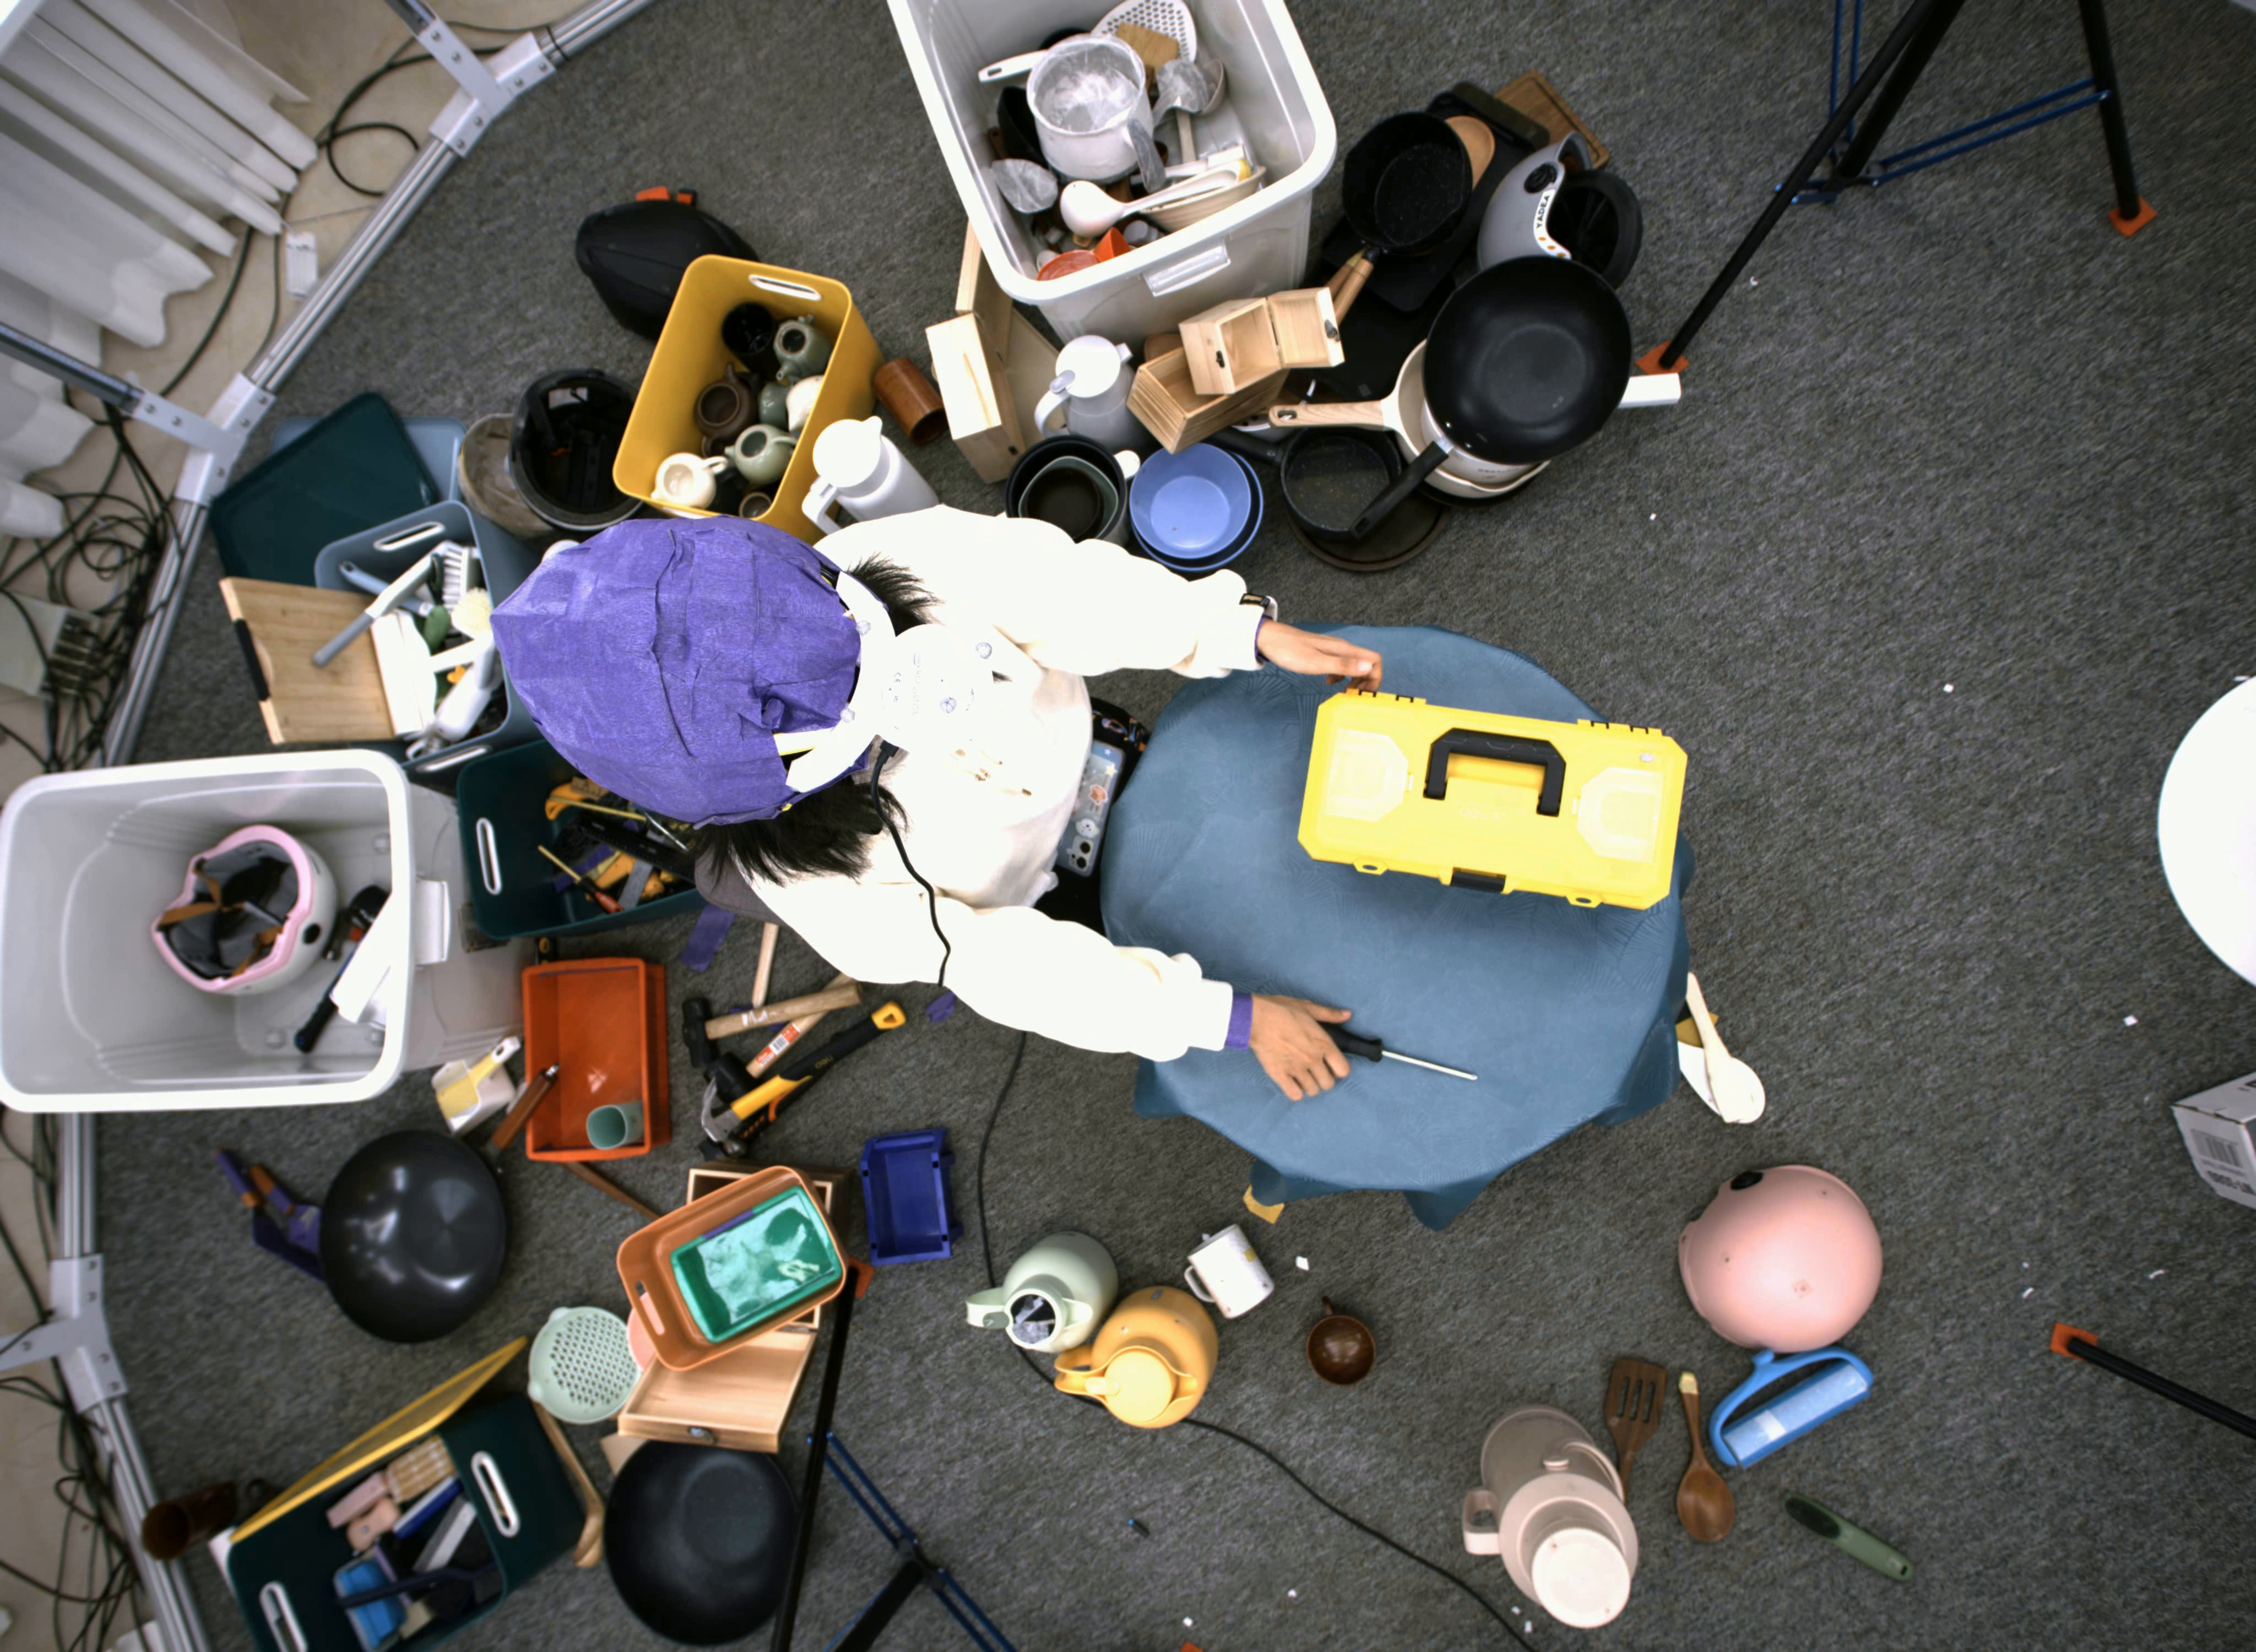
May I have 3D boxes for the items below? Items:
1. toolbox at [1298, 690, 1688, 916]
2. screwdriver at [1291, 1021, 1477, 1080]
[{"bbox_3d":[0.354,-0.023,1.362,0.352,0.173,0.181,9,87,11],"label":"toolbox"},{"bbox_3d":[0.266,0.236,1.435,0.196,0.031,0.031,14,88,9],"label":"screwdriver"}]
